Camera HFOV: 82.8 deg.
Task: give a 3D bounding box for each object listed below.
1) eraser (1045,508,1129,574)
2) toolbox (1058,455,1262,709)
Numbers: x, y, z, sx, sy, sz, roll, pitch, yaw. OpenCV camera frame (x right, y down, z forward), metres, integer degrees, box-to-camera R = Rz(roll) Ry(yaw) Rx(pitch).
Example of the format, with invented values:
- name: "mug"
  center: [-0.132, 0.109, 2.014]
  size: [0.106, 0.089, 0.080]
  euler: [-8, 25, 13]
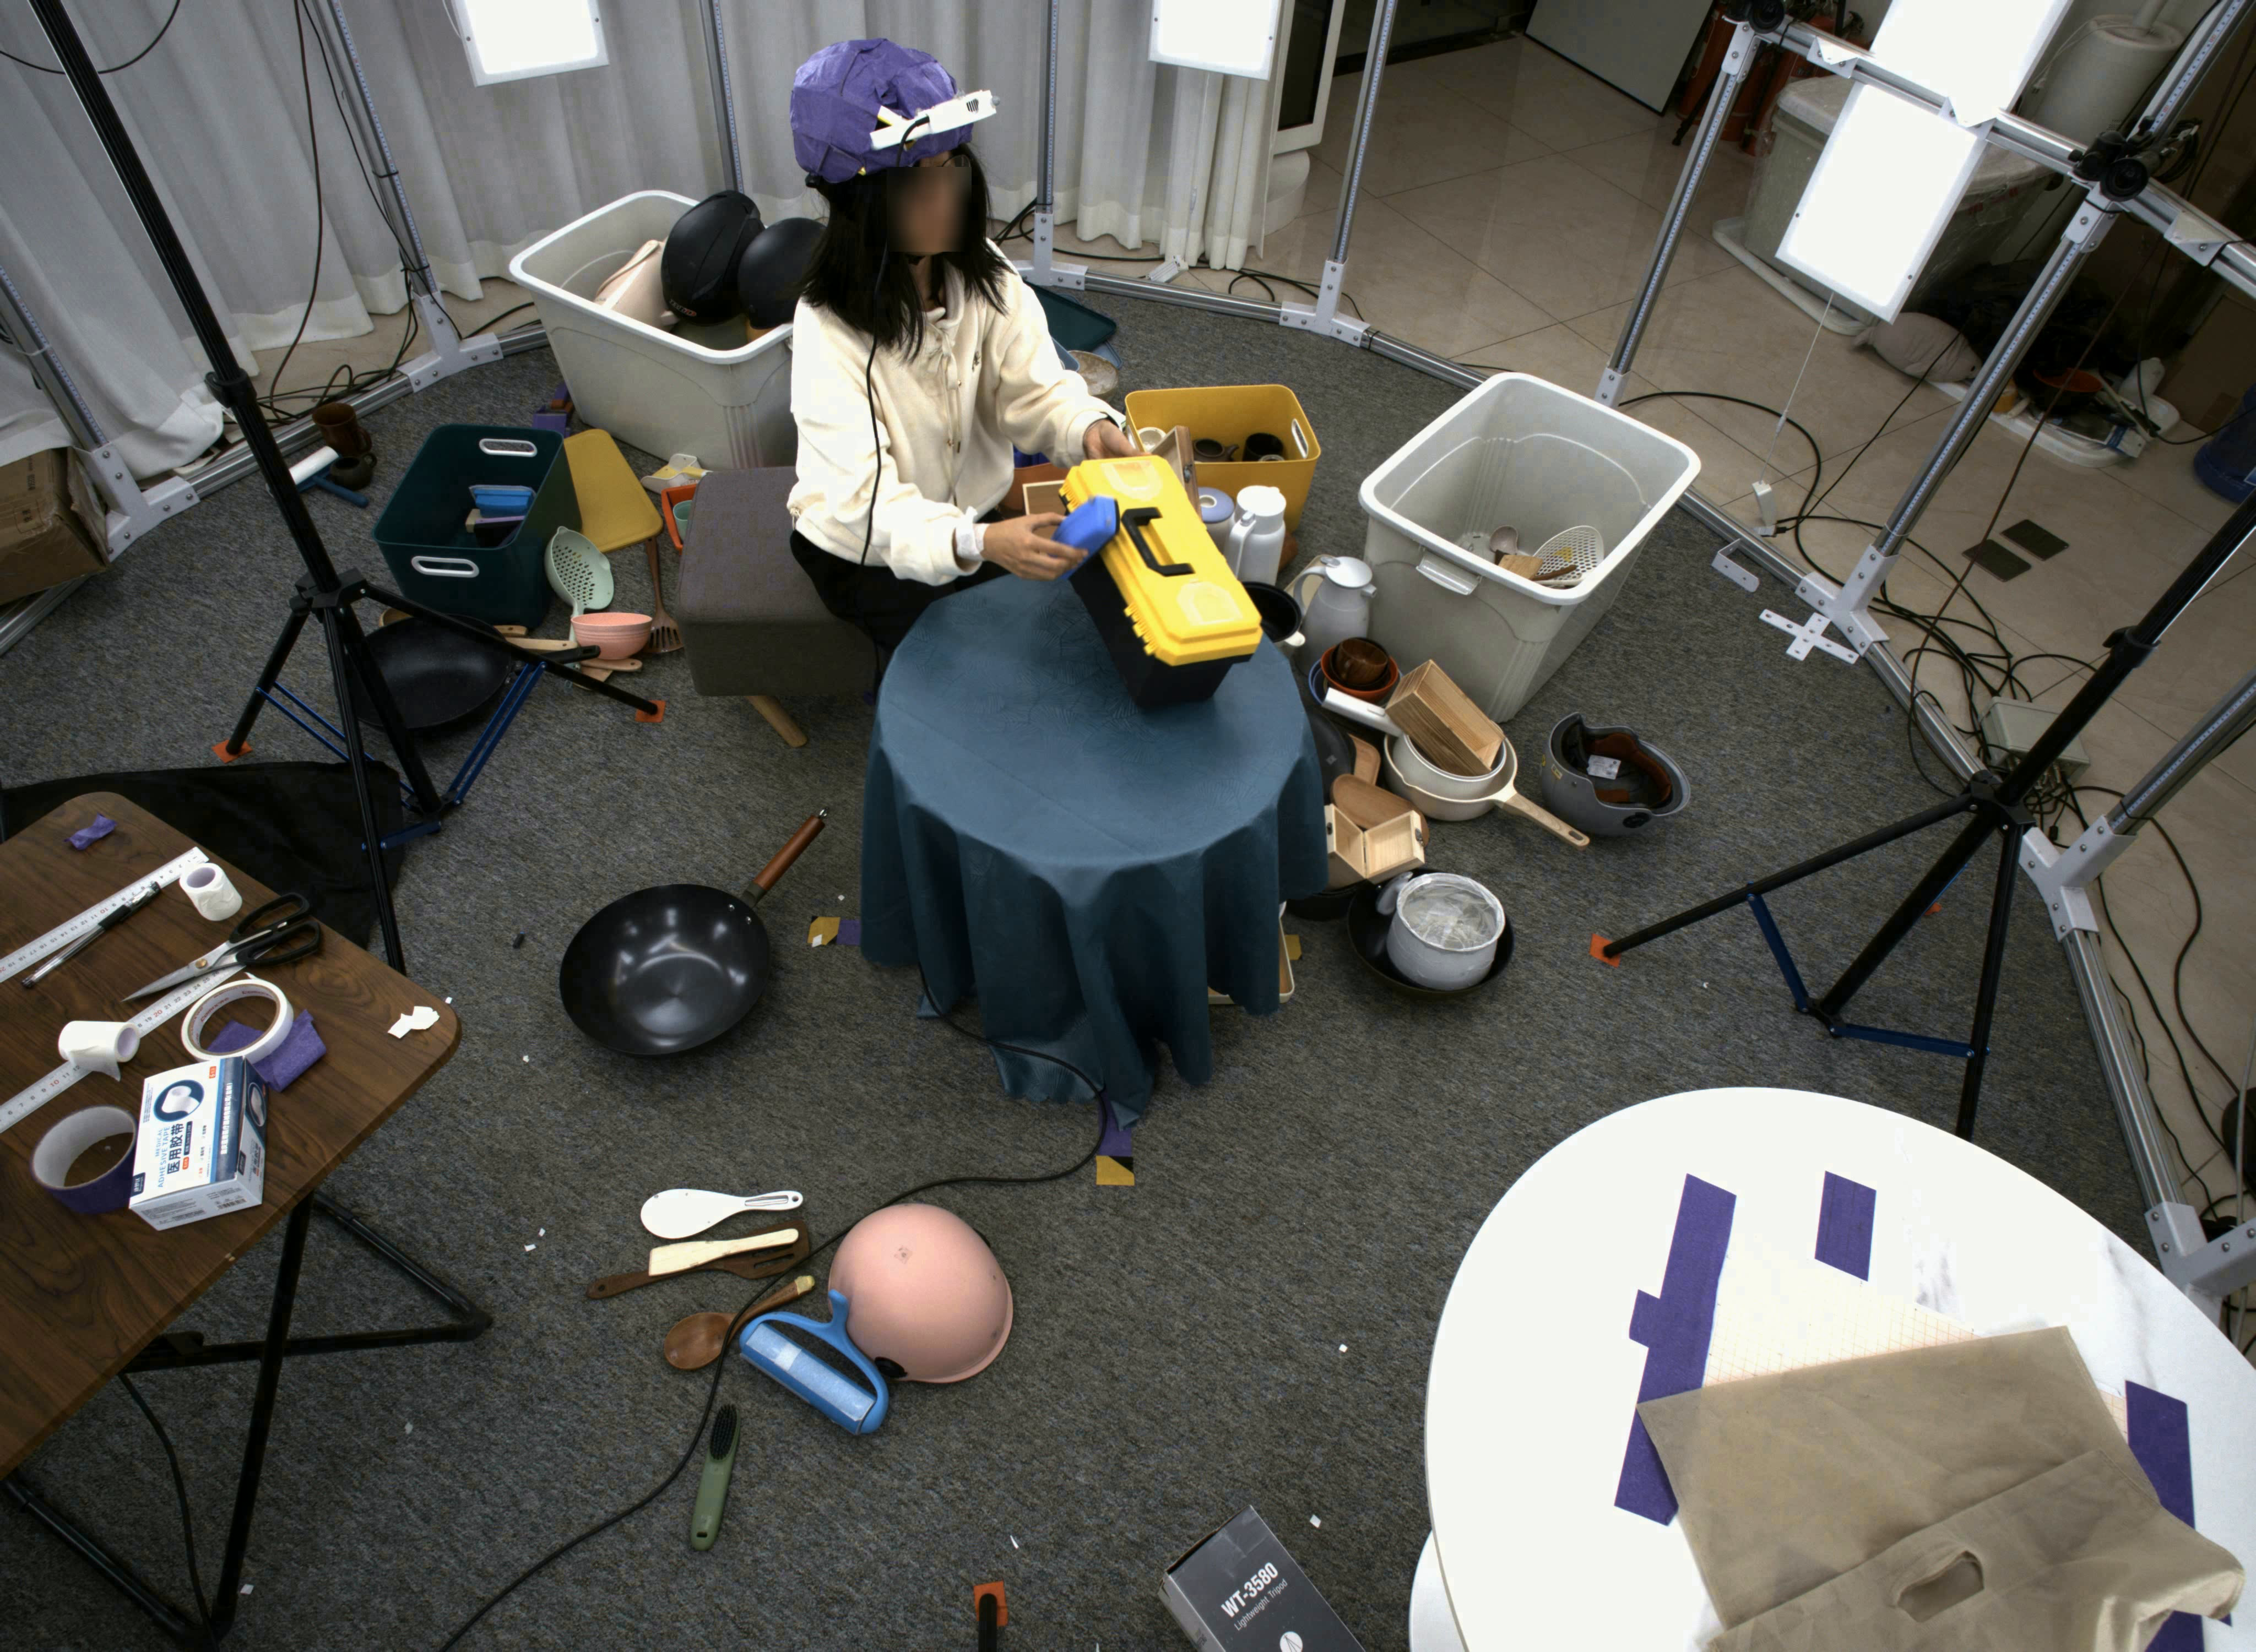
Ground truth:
- name: "eraser"
  center: [-0.061, -0.383, 1.737]
  size: [0.047, 0.162, 0.054]
  euler: [-2, 88, -35]
- name: "toolbox"
  center: [0.032, -0.346, 1.815]
  size: [0.181, 0.169, 0.358]
  euler: [-11, 61, -29]
